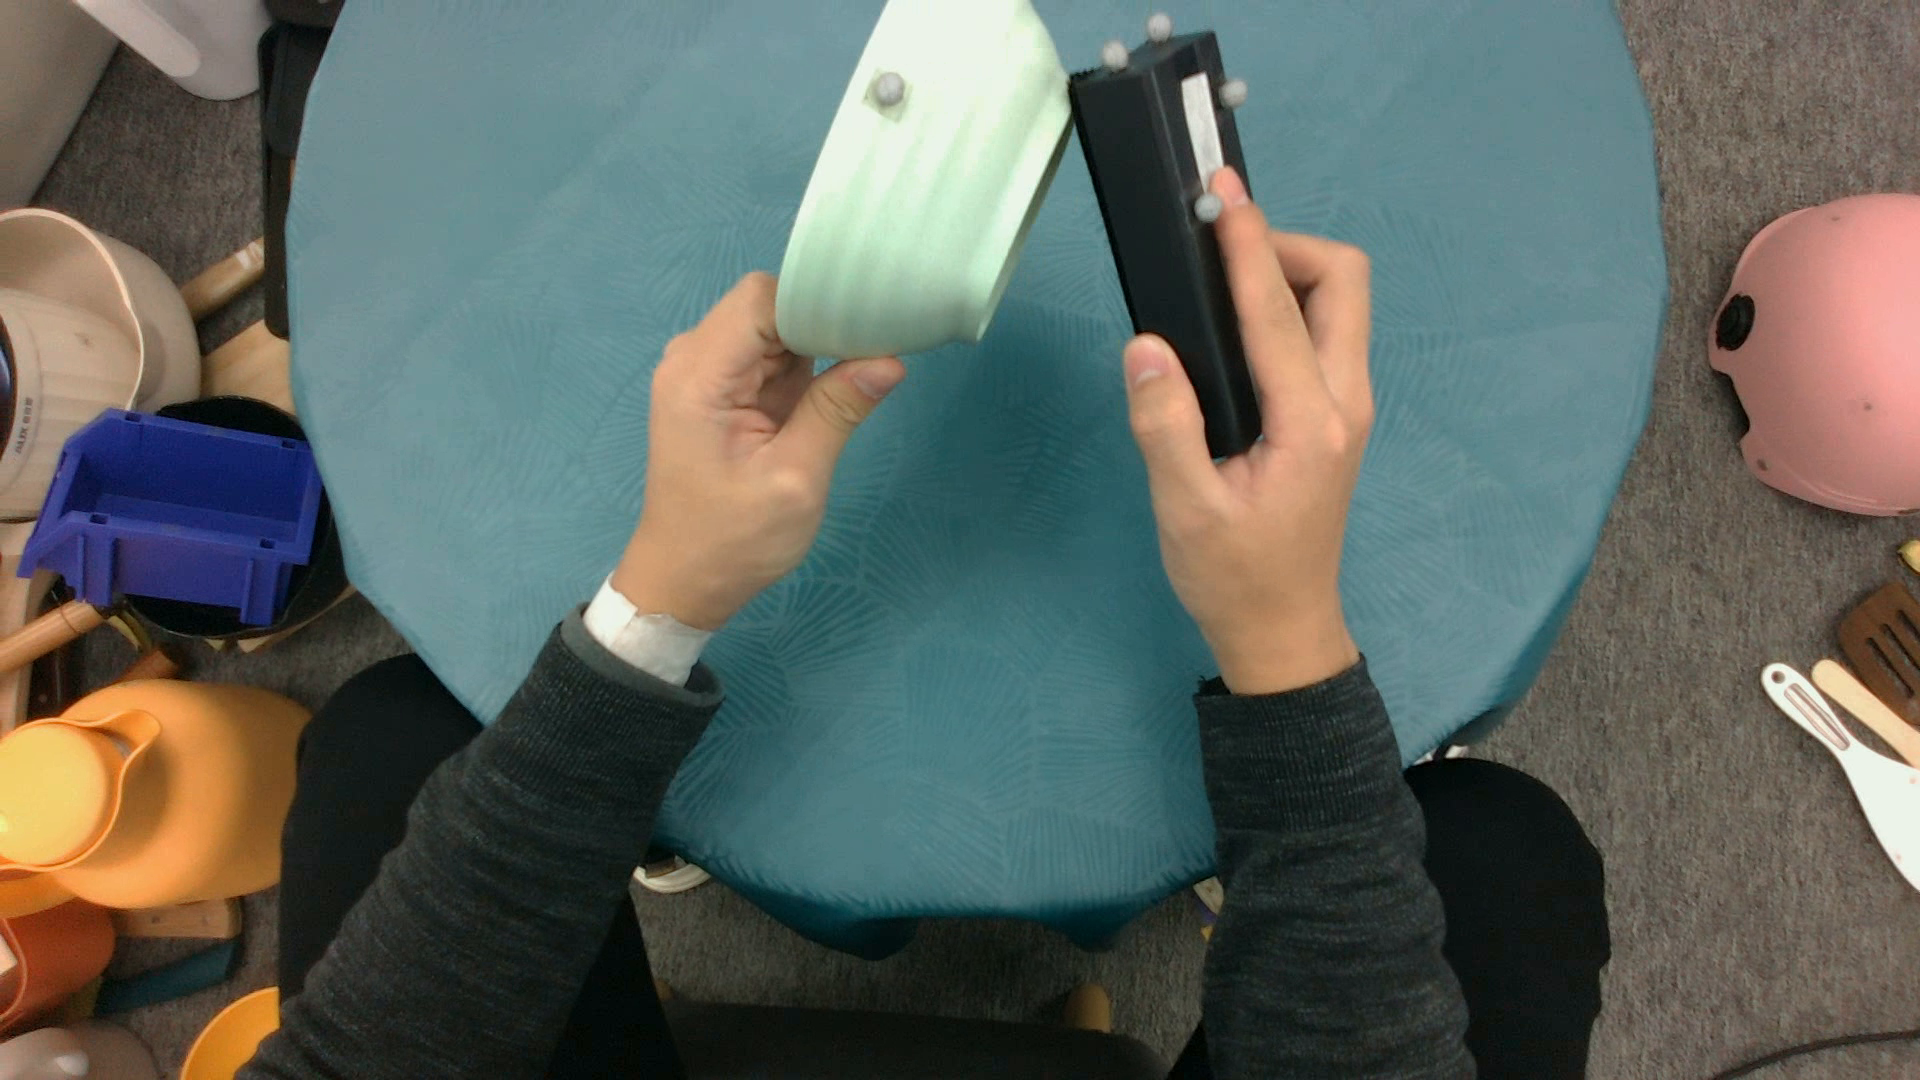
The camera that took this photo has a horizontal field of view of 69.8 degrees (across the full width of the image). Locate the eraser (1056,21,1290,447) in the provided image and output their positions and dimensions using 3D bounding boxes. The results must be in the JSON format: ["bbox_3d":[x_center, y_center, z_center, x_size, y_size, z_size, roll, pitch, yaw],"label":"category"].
[{"bbox_3d":[0.071,-0.096,0.444,0.054,0.030,0.125,-42,122,-40],"label":"eraser"}]

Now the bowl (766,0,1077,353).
[{"bbox_3d":[-0.006,-0.116,0.453,0.058,0.151,0.151,26,82,-1],"label":"bowl"}]
